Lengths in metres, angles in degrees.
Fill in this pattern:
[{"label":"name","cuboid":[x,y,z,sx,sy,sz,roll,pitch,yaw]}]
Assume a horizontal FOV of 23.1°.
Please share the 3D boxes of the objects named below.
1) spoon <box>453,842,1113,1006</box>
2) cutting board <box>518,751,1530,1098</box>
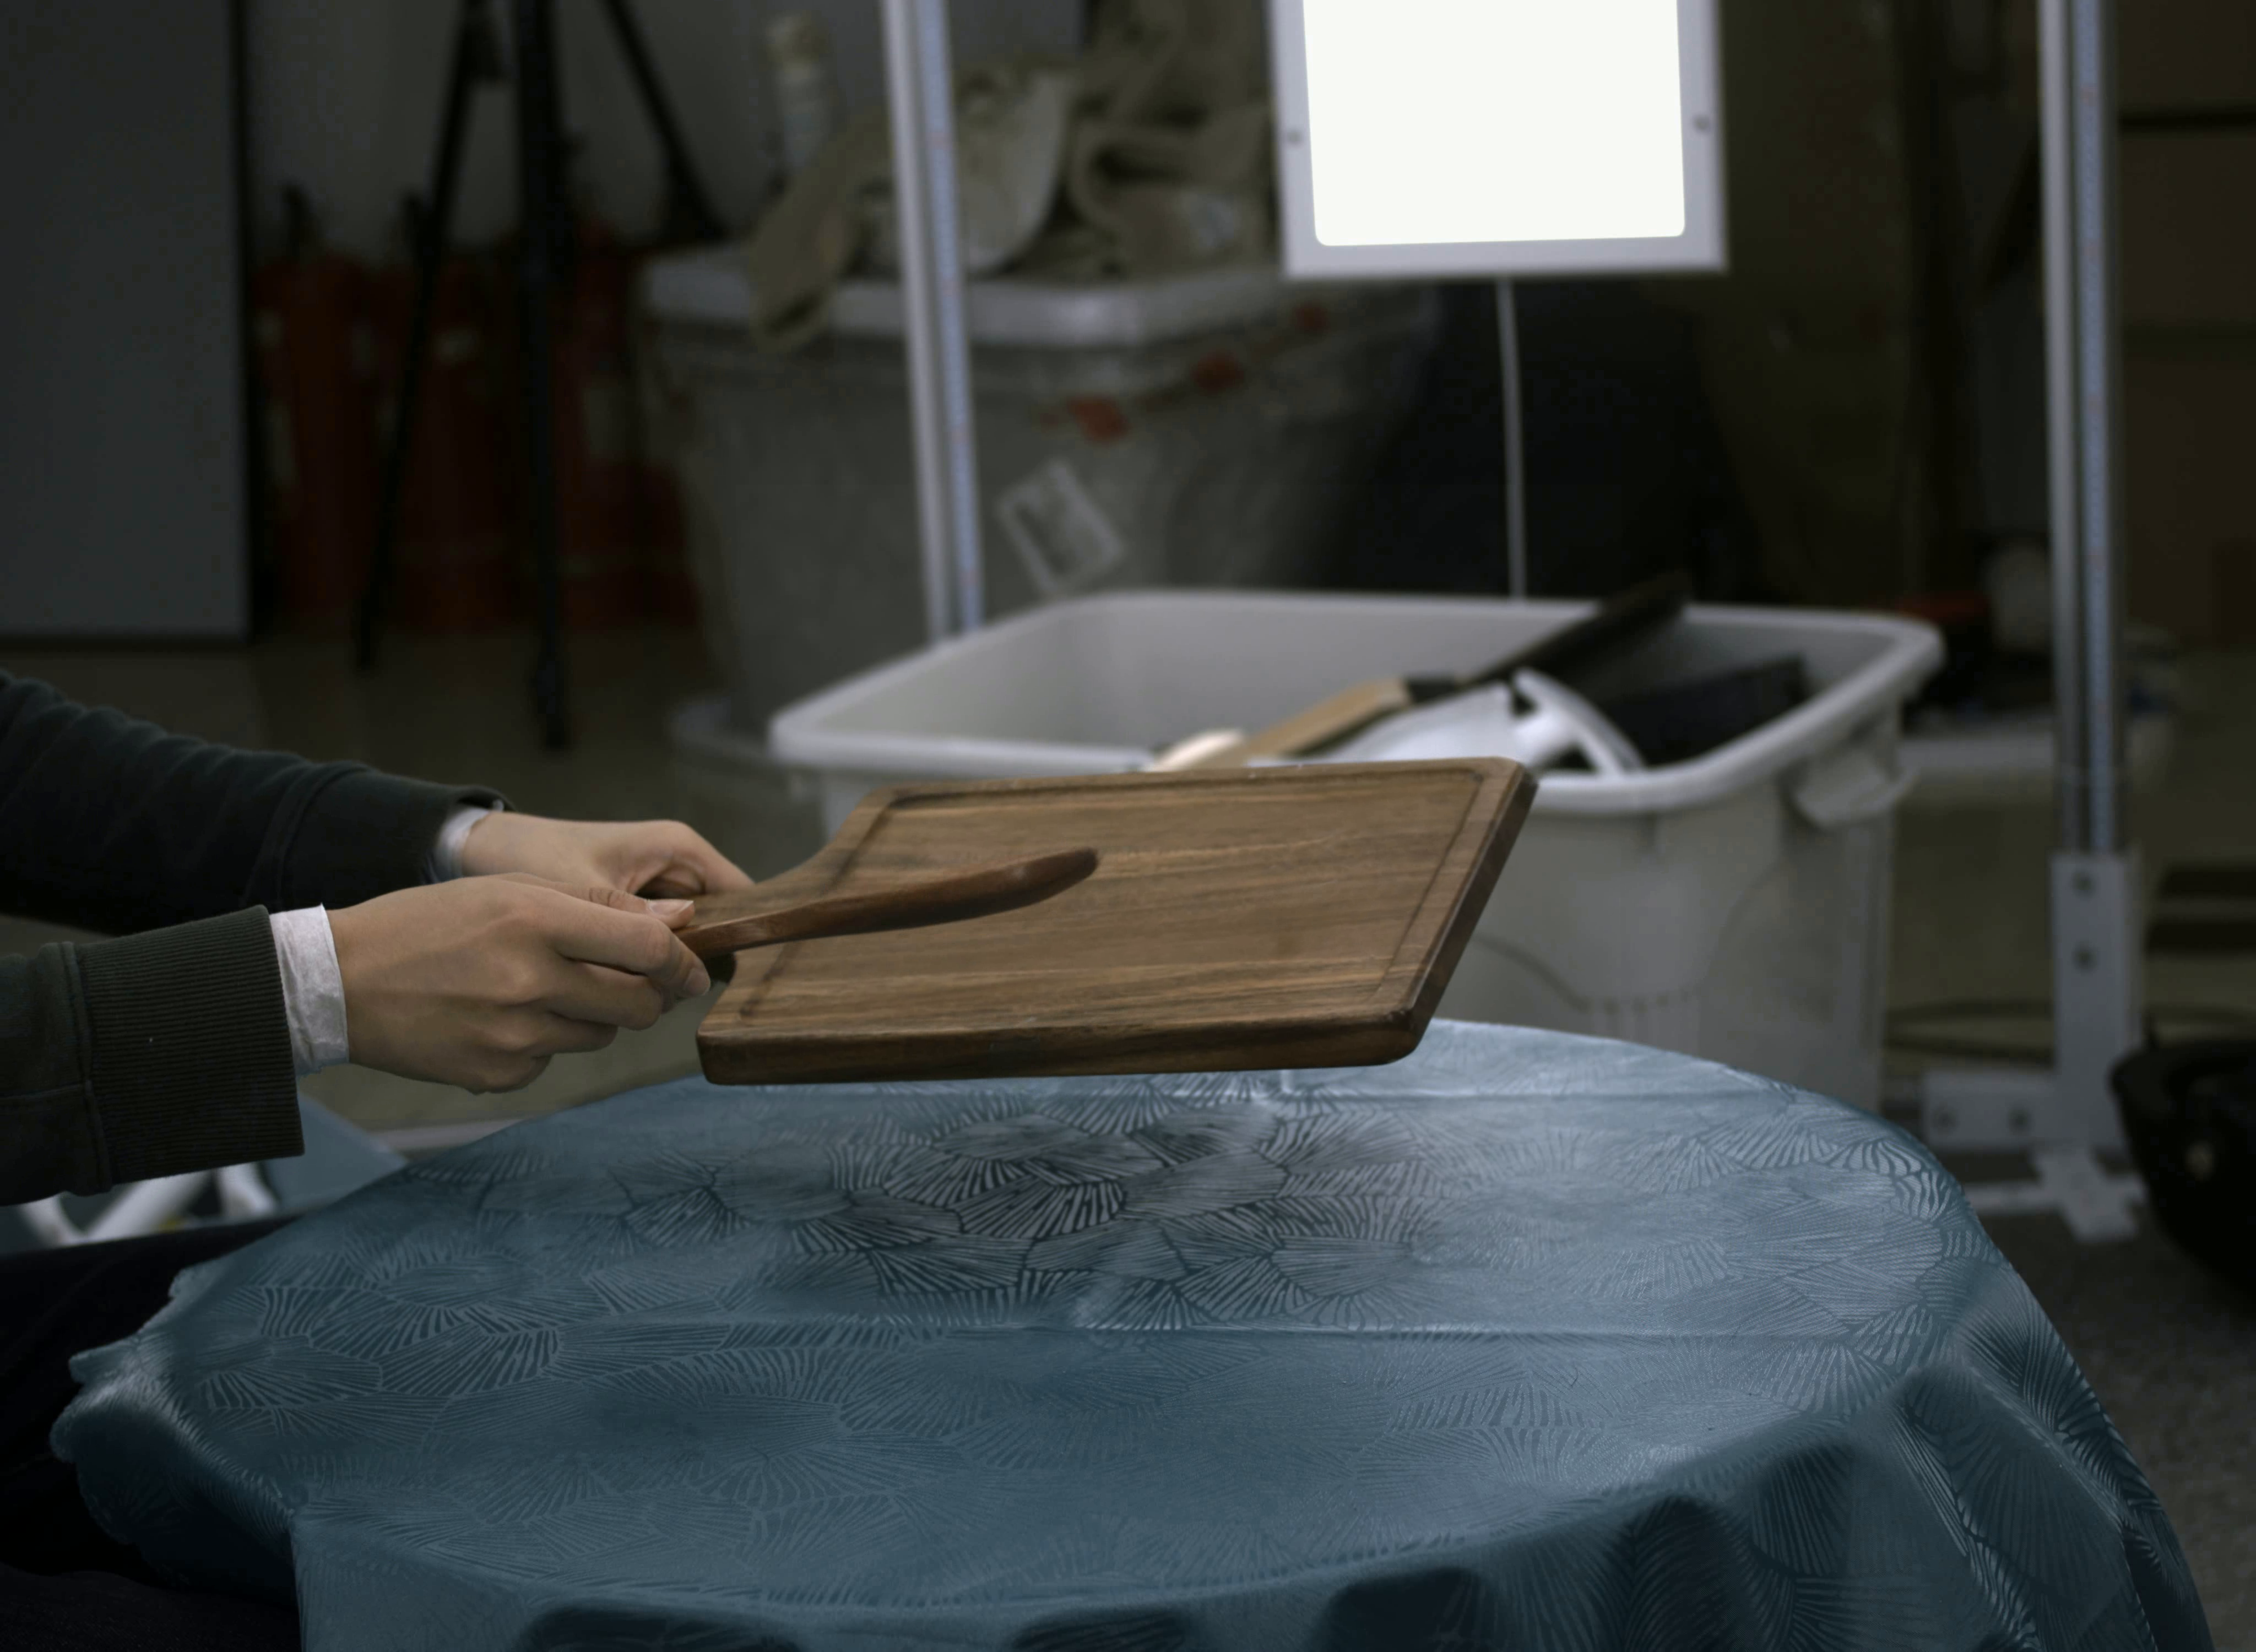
[{"label":"spoon","cuboid":[-0.109,0.032,1.761,0.216,0.017,0.075,-11,5,3]},{"label":"cutting board","cuboid":[-0.048,0.035,1.901,0.357,0.023,0.198,-3,27,21]}]
